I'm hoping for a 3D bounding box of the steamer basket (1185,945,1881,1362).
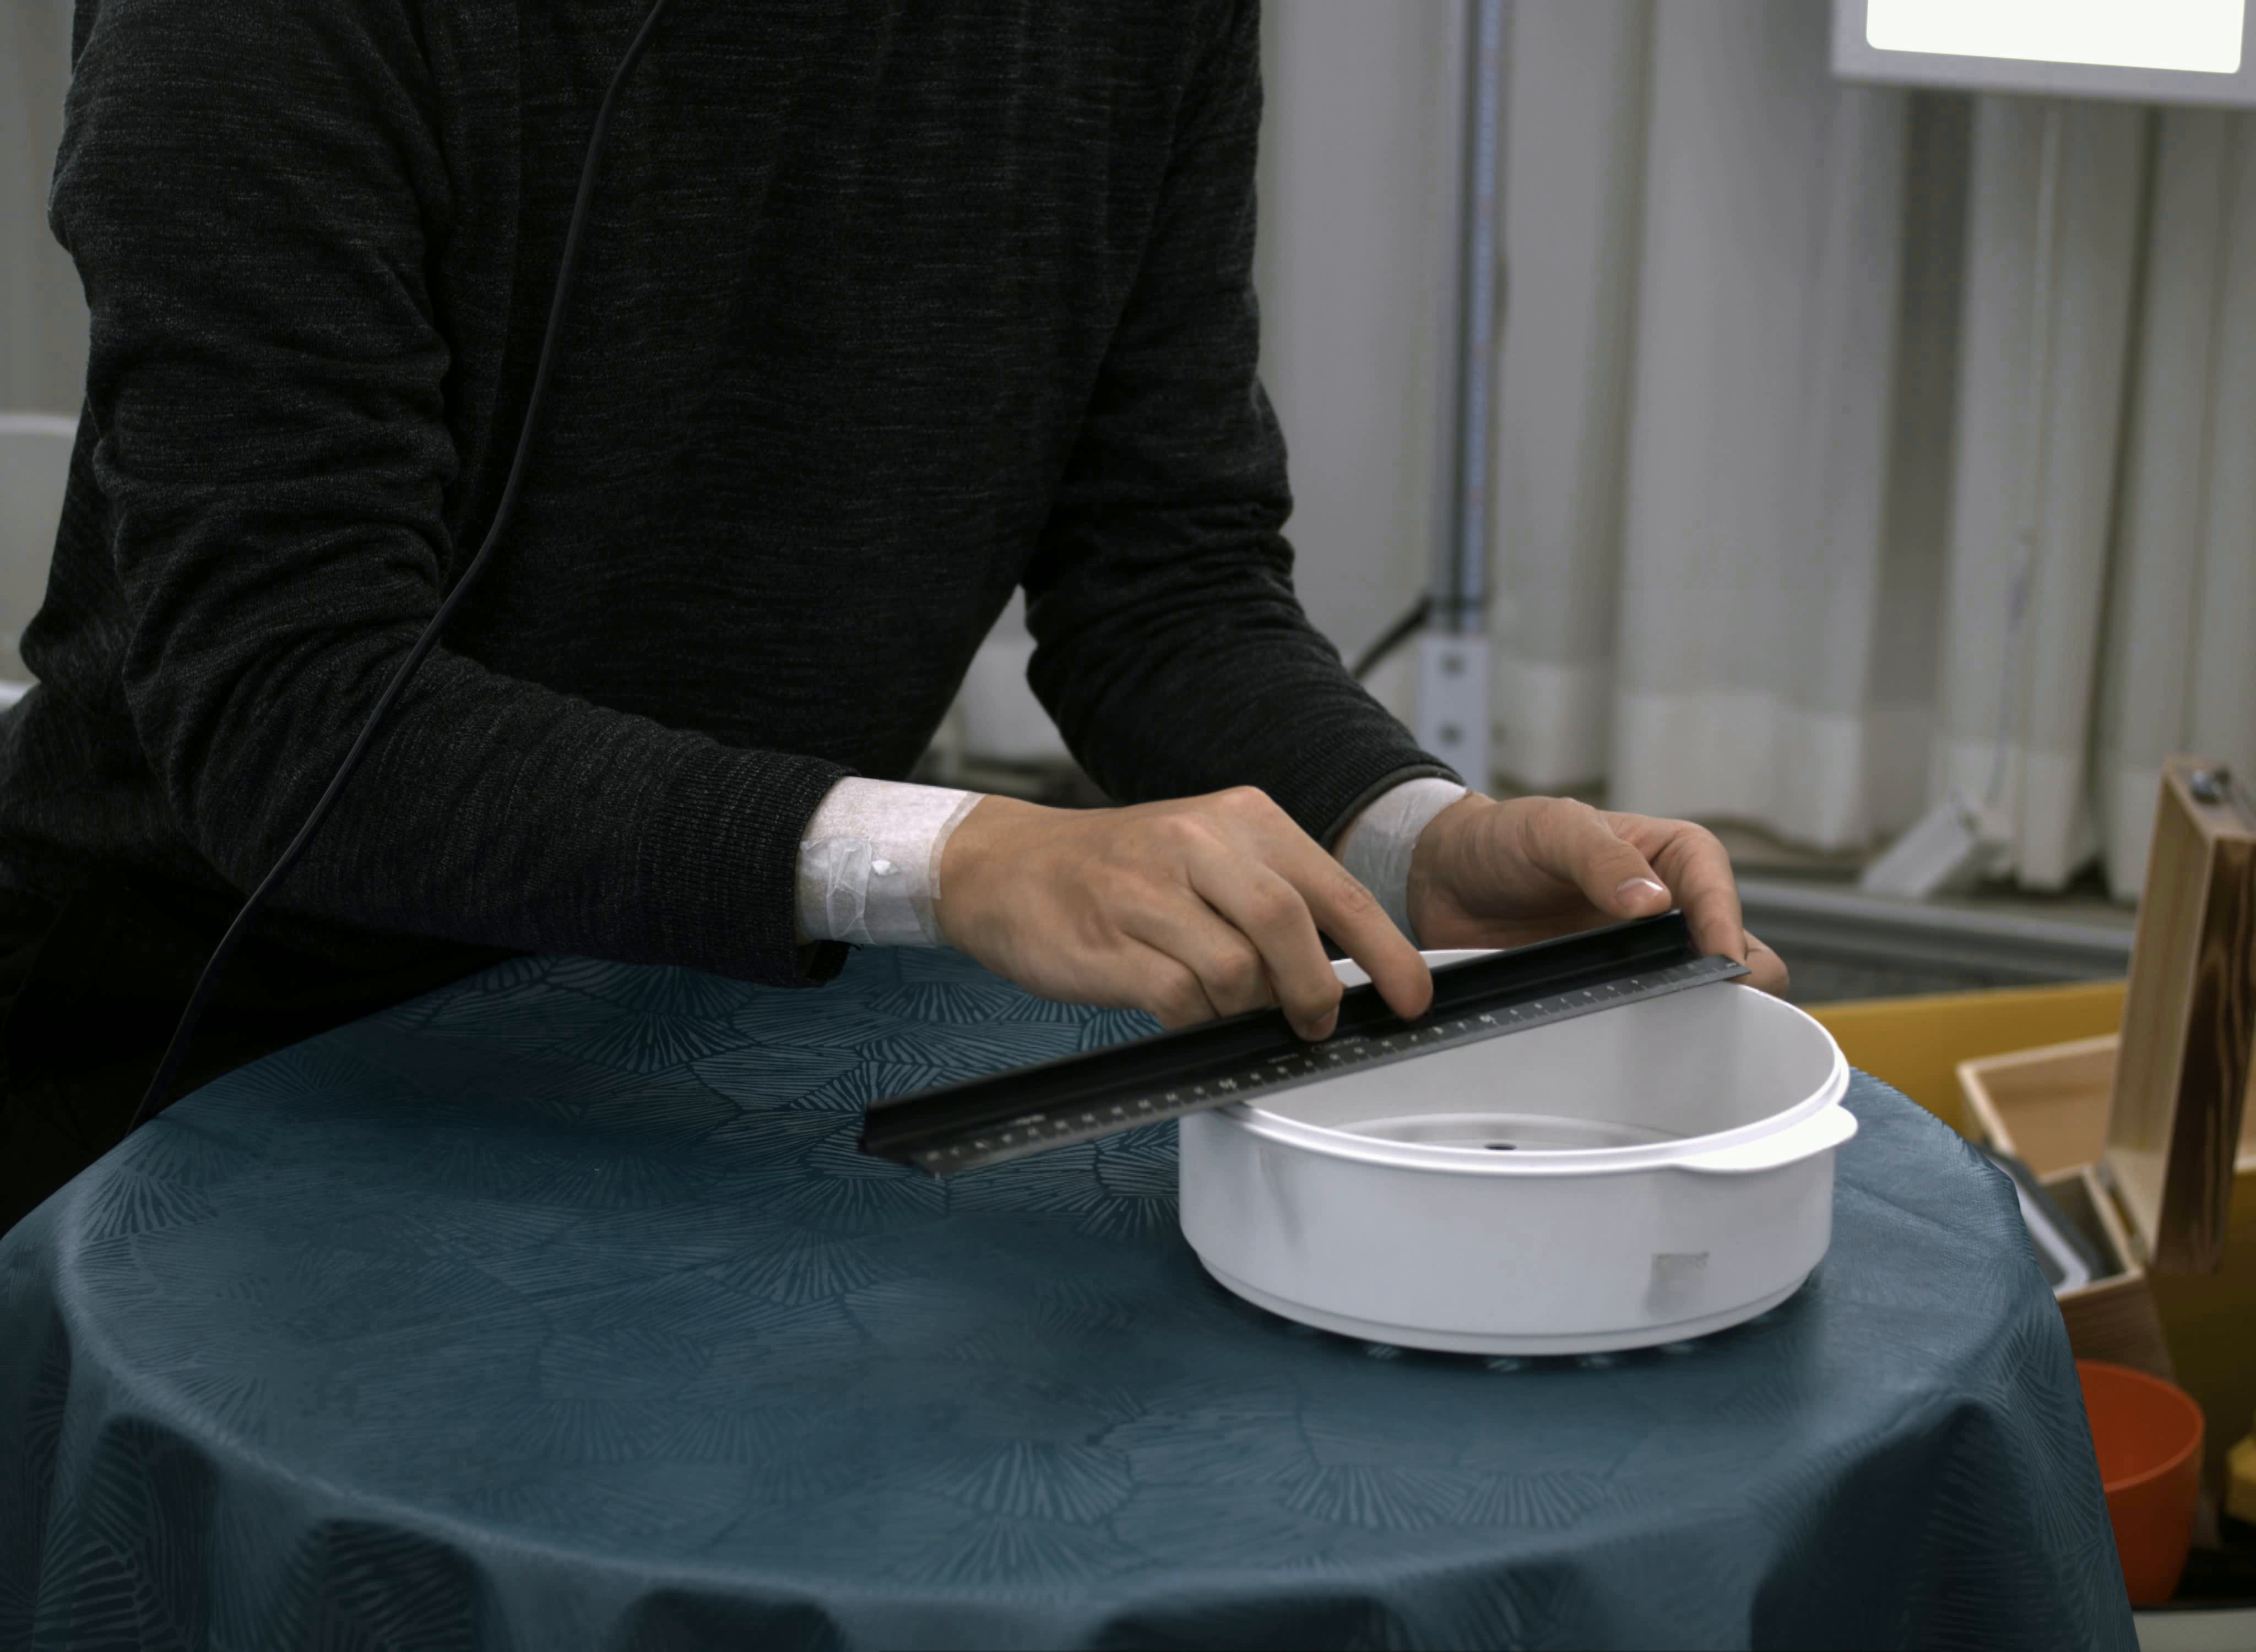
[{"bbox_3d":[0.116,0.096,1.553,0.227,0.070,0.203,18,23,41],"label":"steamer basket"}]

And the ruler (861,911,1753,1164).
[{"bbox_3d":[0.058,0.059,1.525,0.314,0.017,0.039,-11,18,-37],"label":"ruler"}]
